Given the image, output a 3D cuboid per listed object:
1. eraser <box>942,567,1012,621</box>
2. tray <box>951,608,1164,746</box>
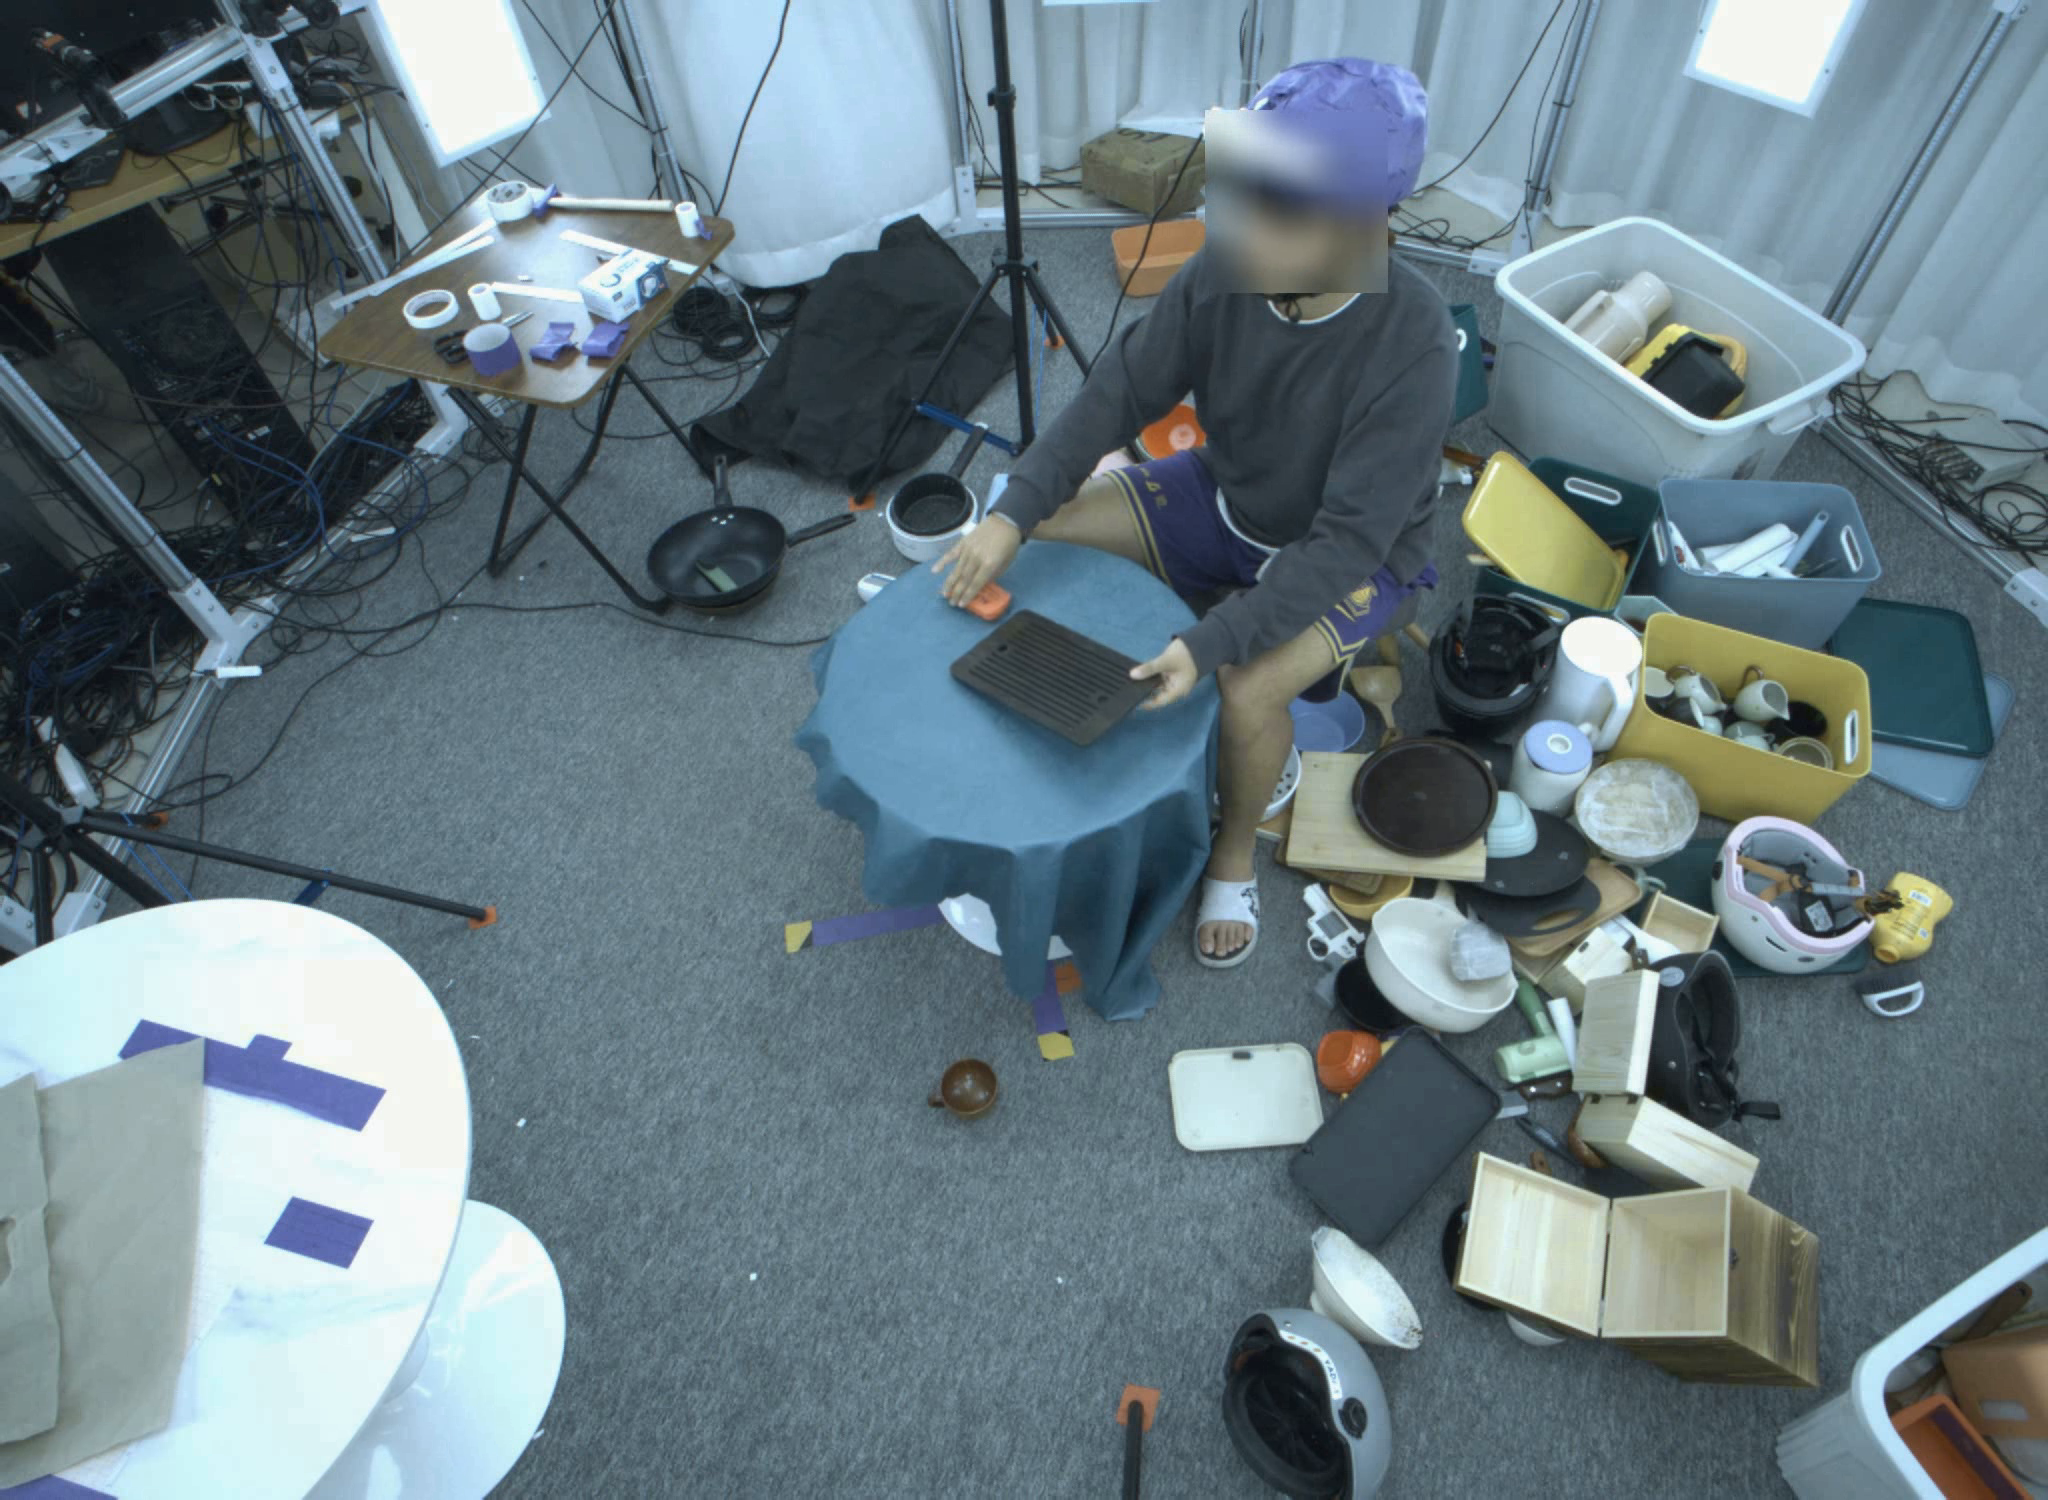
[{"bbox_3d":[-0.075,-0.249,1.951,0.106,0.023,0.059,33,62,24],"label":"eraser"},{"bbox_3d":[0.045,-0.111,1.816,0.171,0.019,0.299,-41,49,-22],"label":"tray"}]
